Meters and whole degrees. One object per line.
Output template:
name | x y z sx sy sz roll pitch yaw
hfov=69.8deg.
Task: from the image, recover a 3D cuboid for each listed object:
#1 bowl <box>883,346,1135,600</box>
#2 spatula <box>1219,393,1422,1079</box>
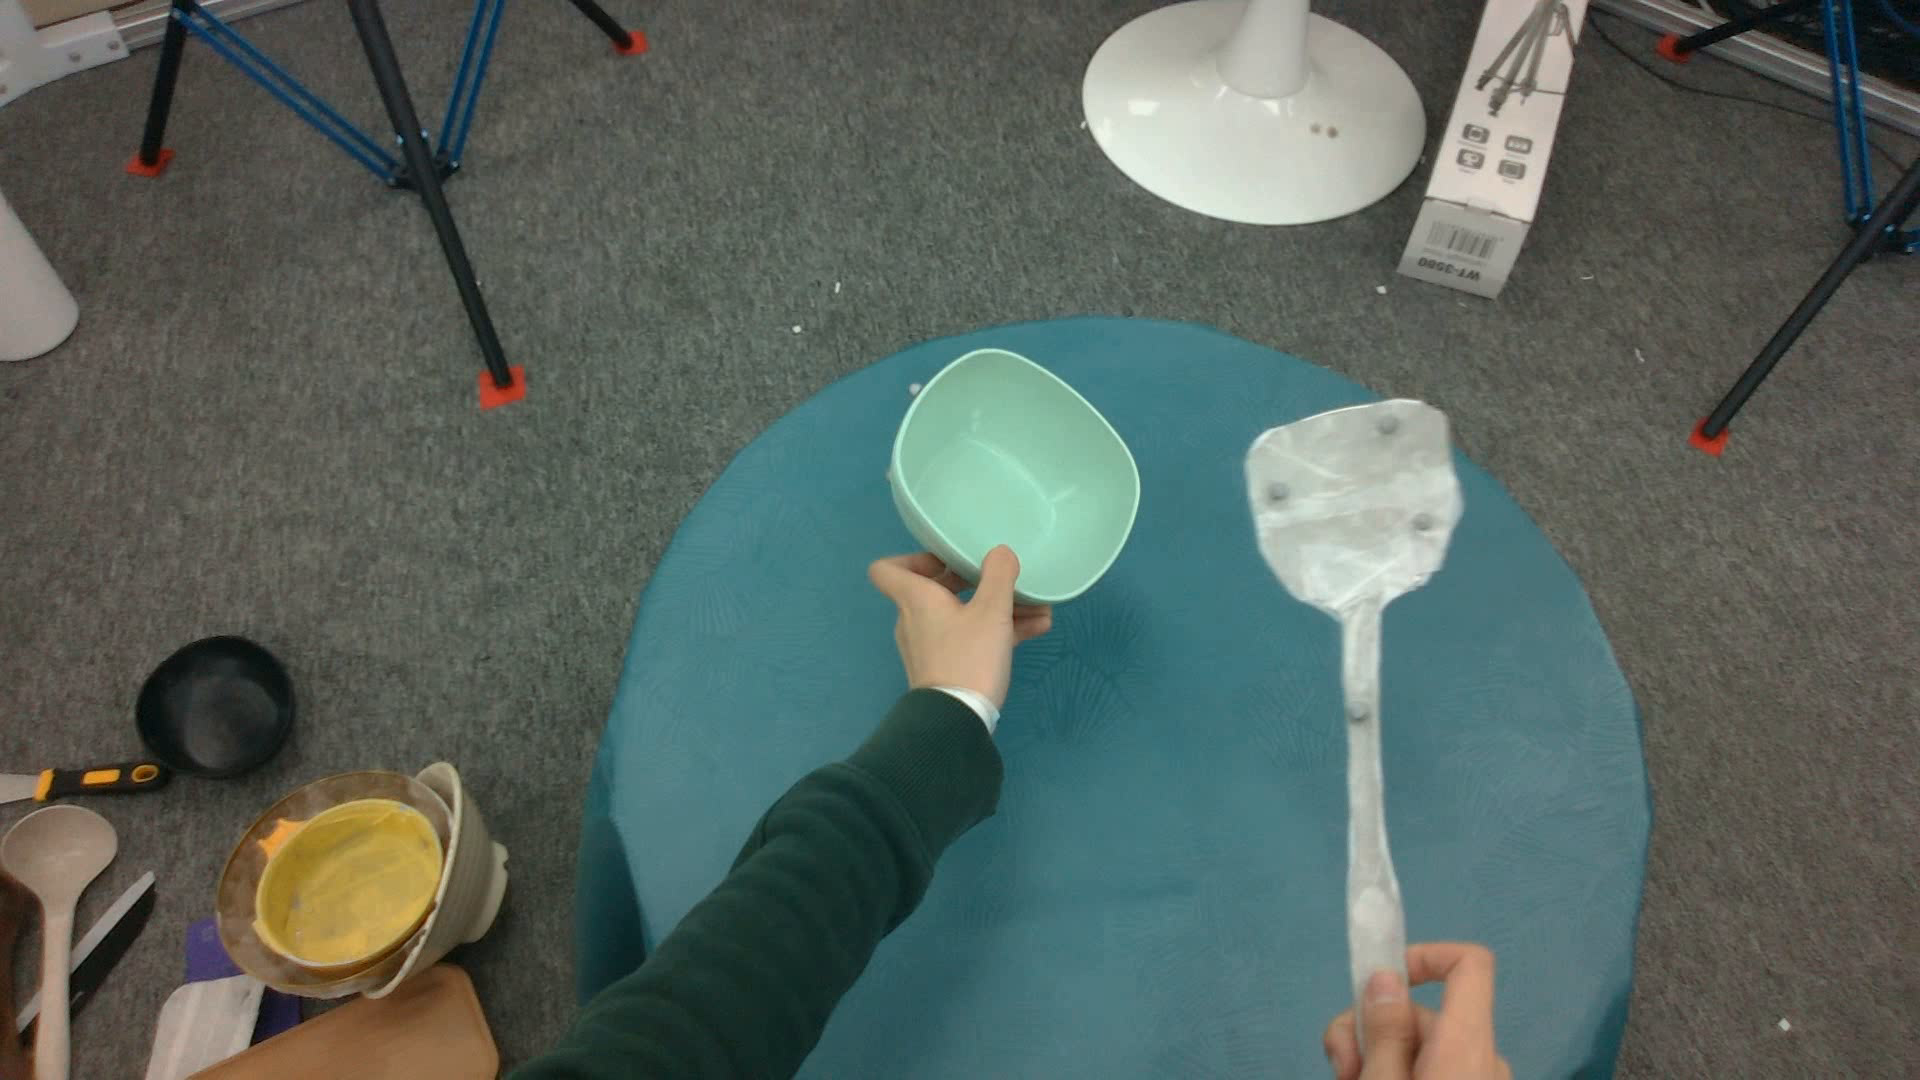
bowl | 0.019 -0.028 0.759 0.151 0.058 0.152 13 59 -22
spatula | 0.166 0.091 0.606 0.098 0.044 0.366 -9 53 23
